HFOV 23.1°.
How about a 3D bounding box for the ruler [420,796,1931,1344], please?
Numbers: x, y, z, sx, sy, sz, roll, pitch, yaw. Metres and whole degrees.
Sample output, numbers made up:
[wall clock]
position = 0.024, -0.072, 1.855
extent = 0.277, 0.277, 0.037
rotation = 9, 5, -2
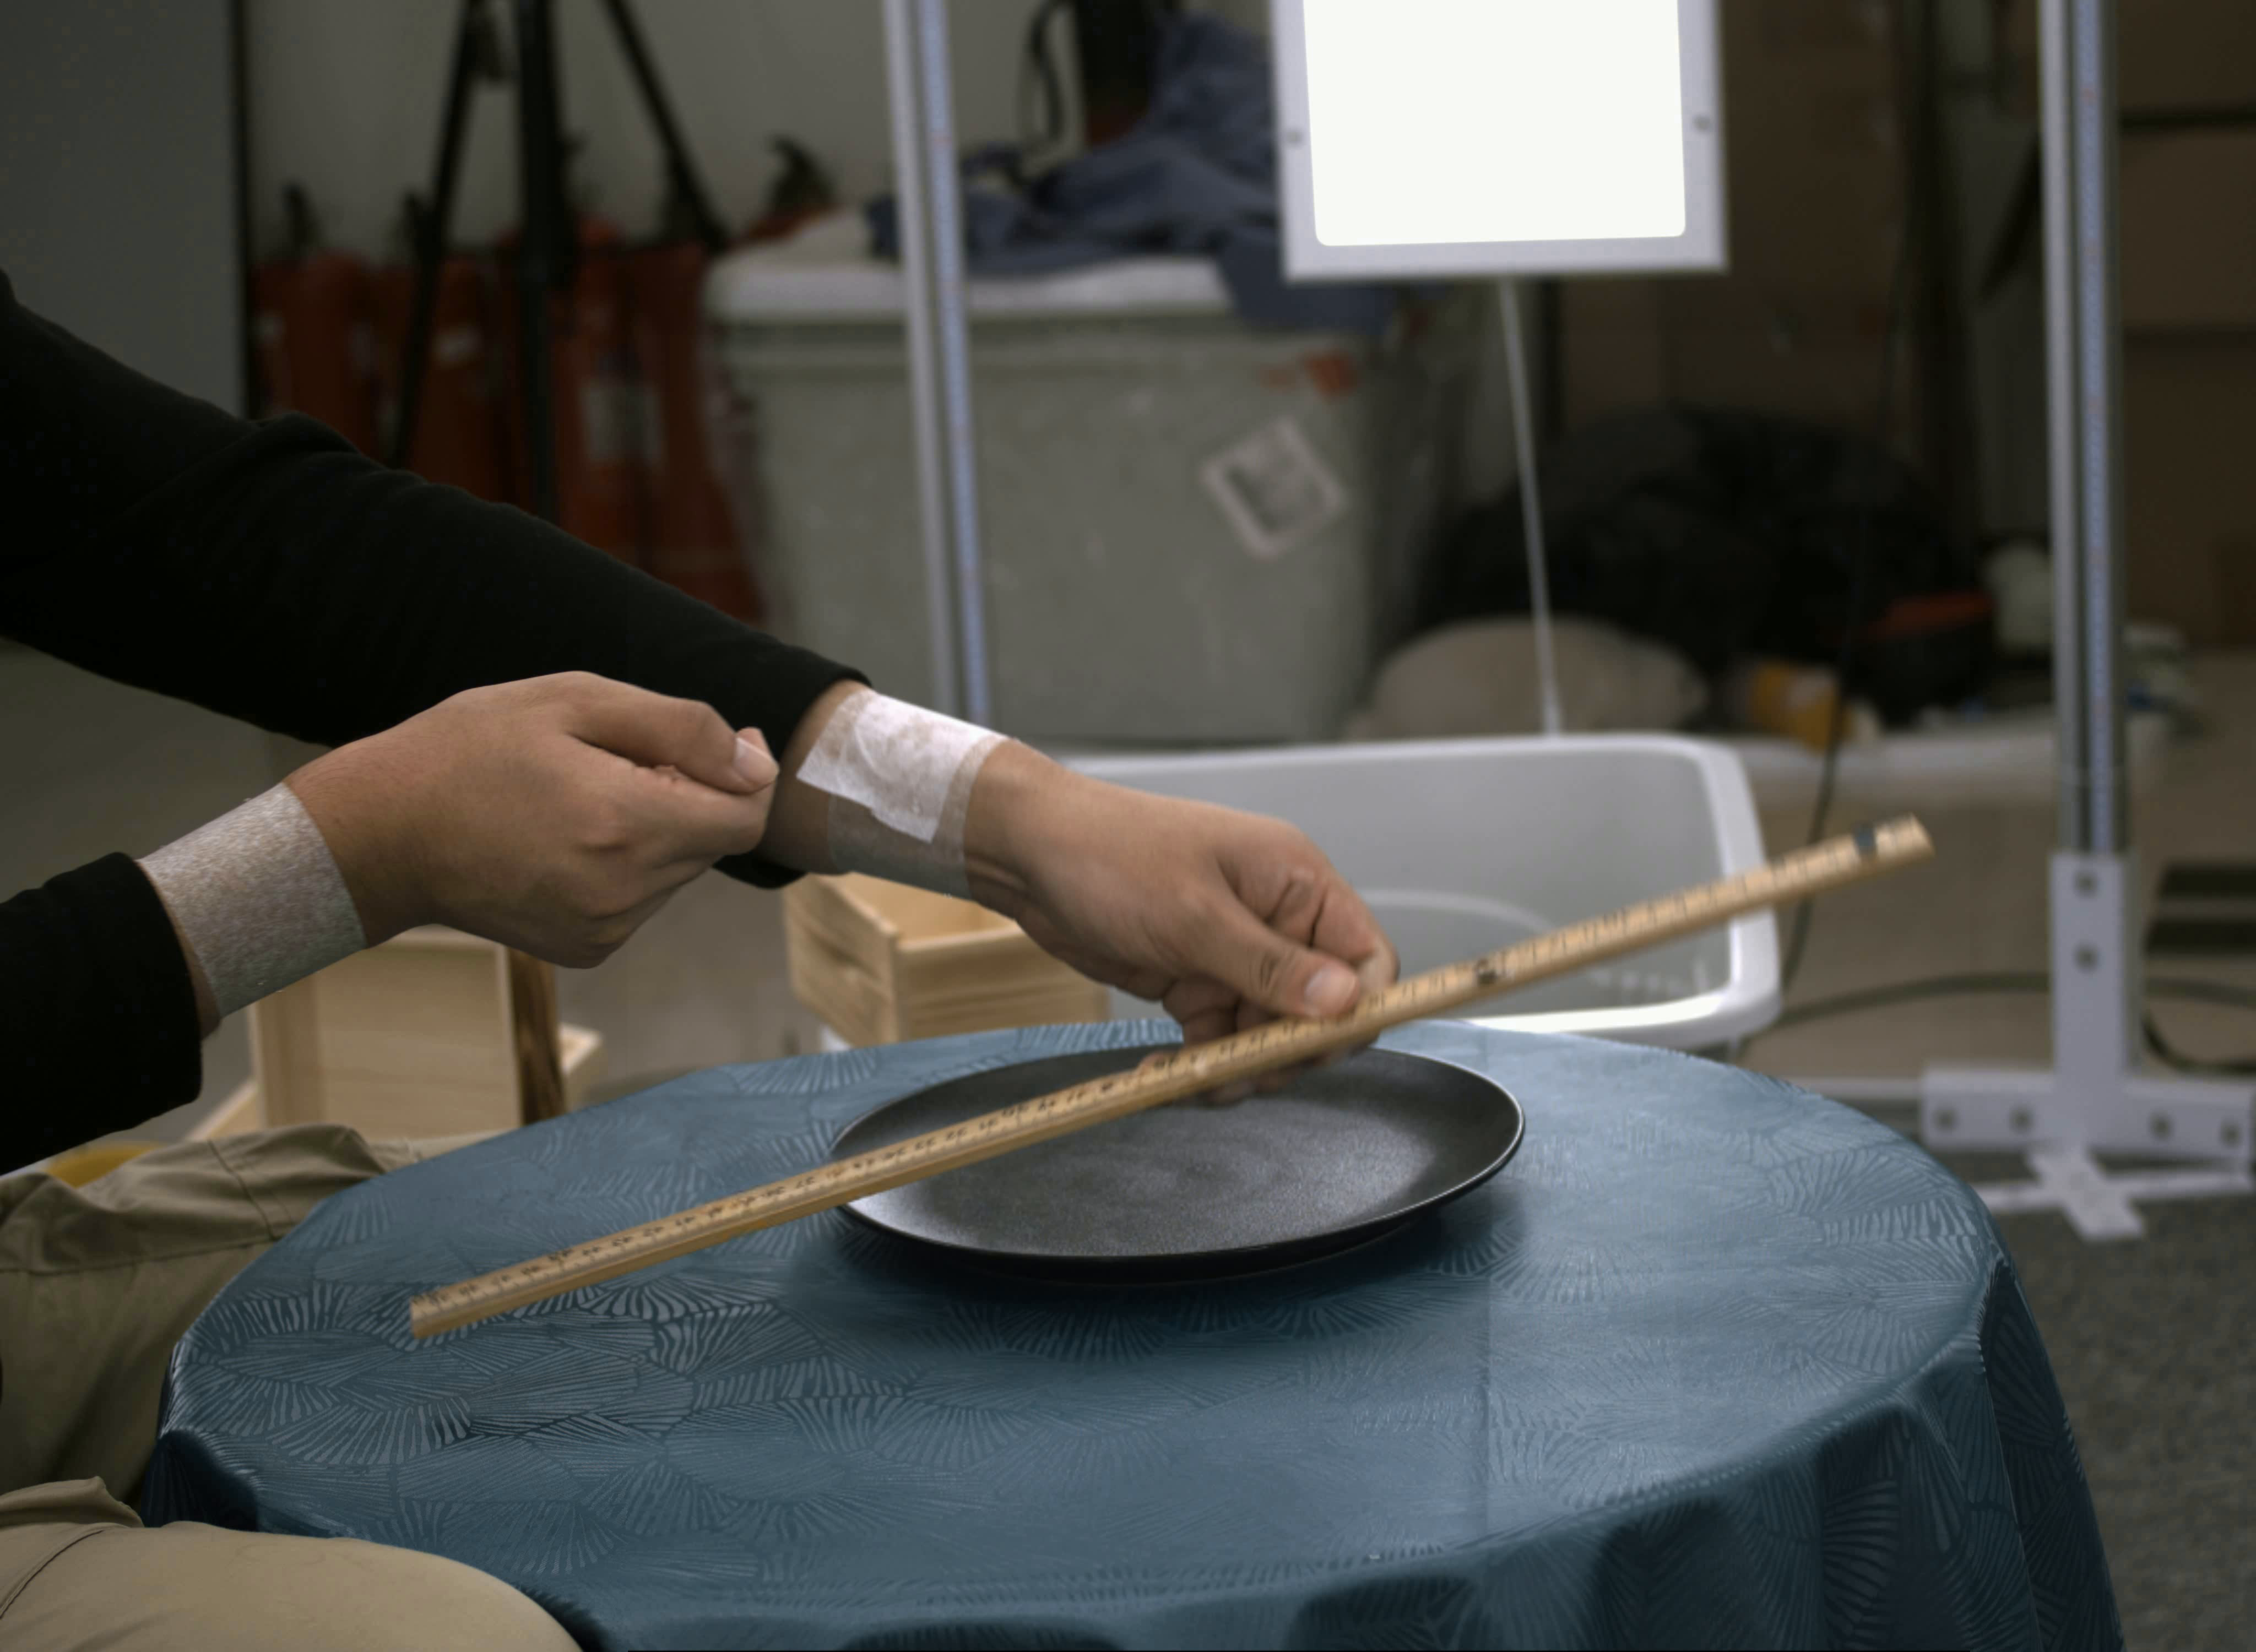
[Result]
[ruler]
position = 0.015, 0.075, 1.726
extent = 0.499, 0.006, 0.027
rotation = -19, 18, 1

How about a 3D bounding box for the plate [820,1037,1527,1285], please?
[plate]
position = 0.016, 0.117, 1.882
extent = 0.244, 0.023, 0.244
rotation = -5, 14, 0
